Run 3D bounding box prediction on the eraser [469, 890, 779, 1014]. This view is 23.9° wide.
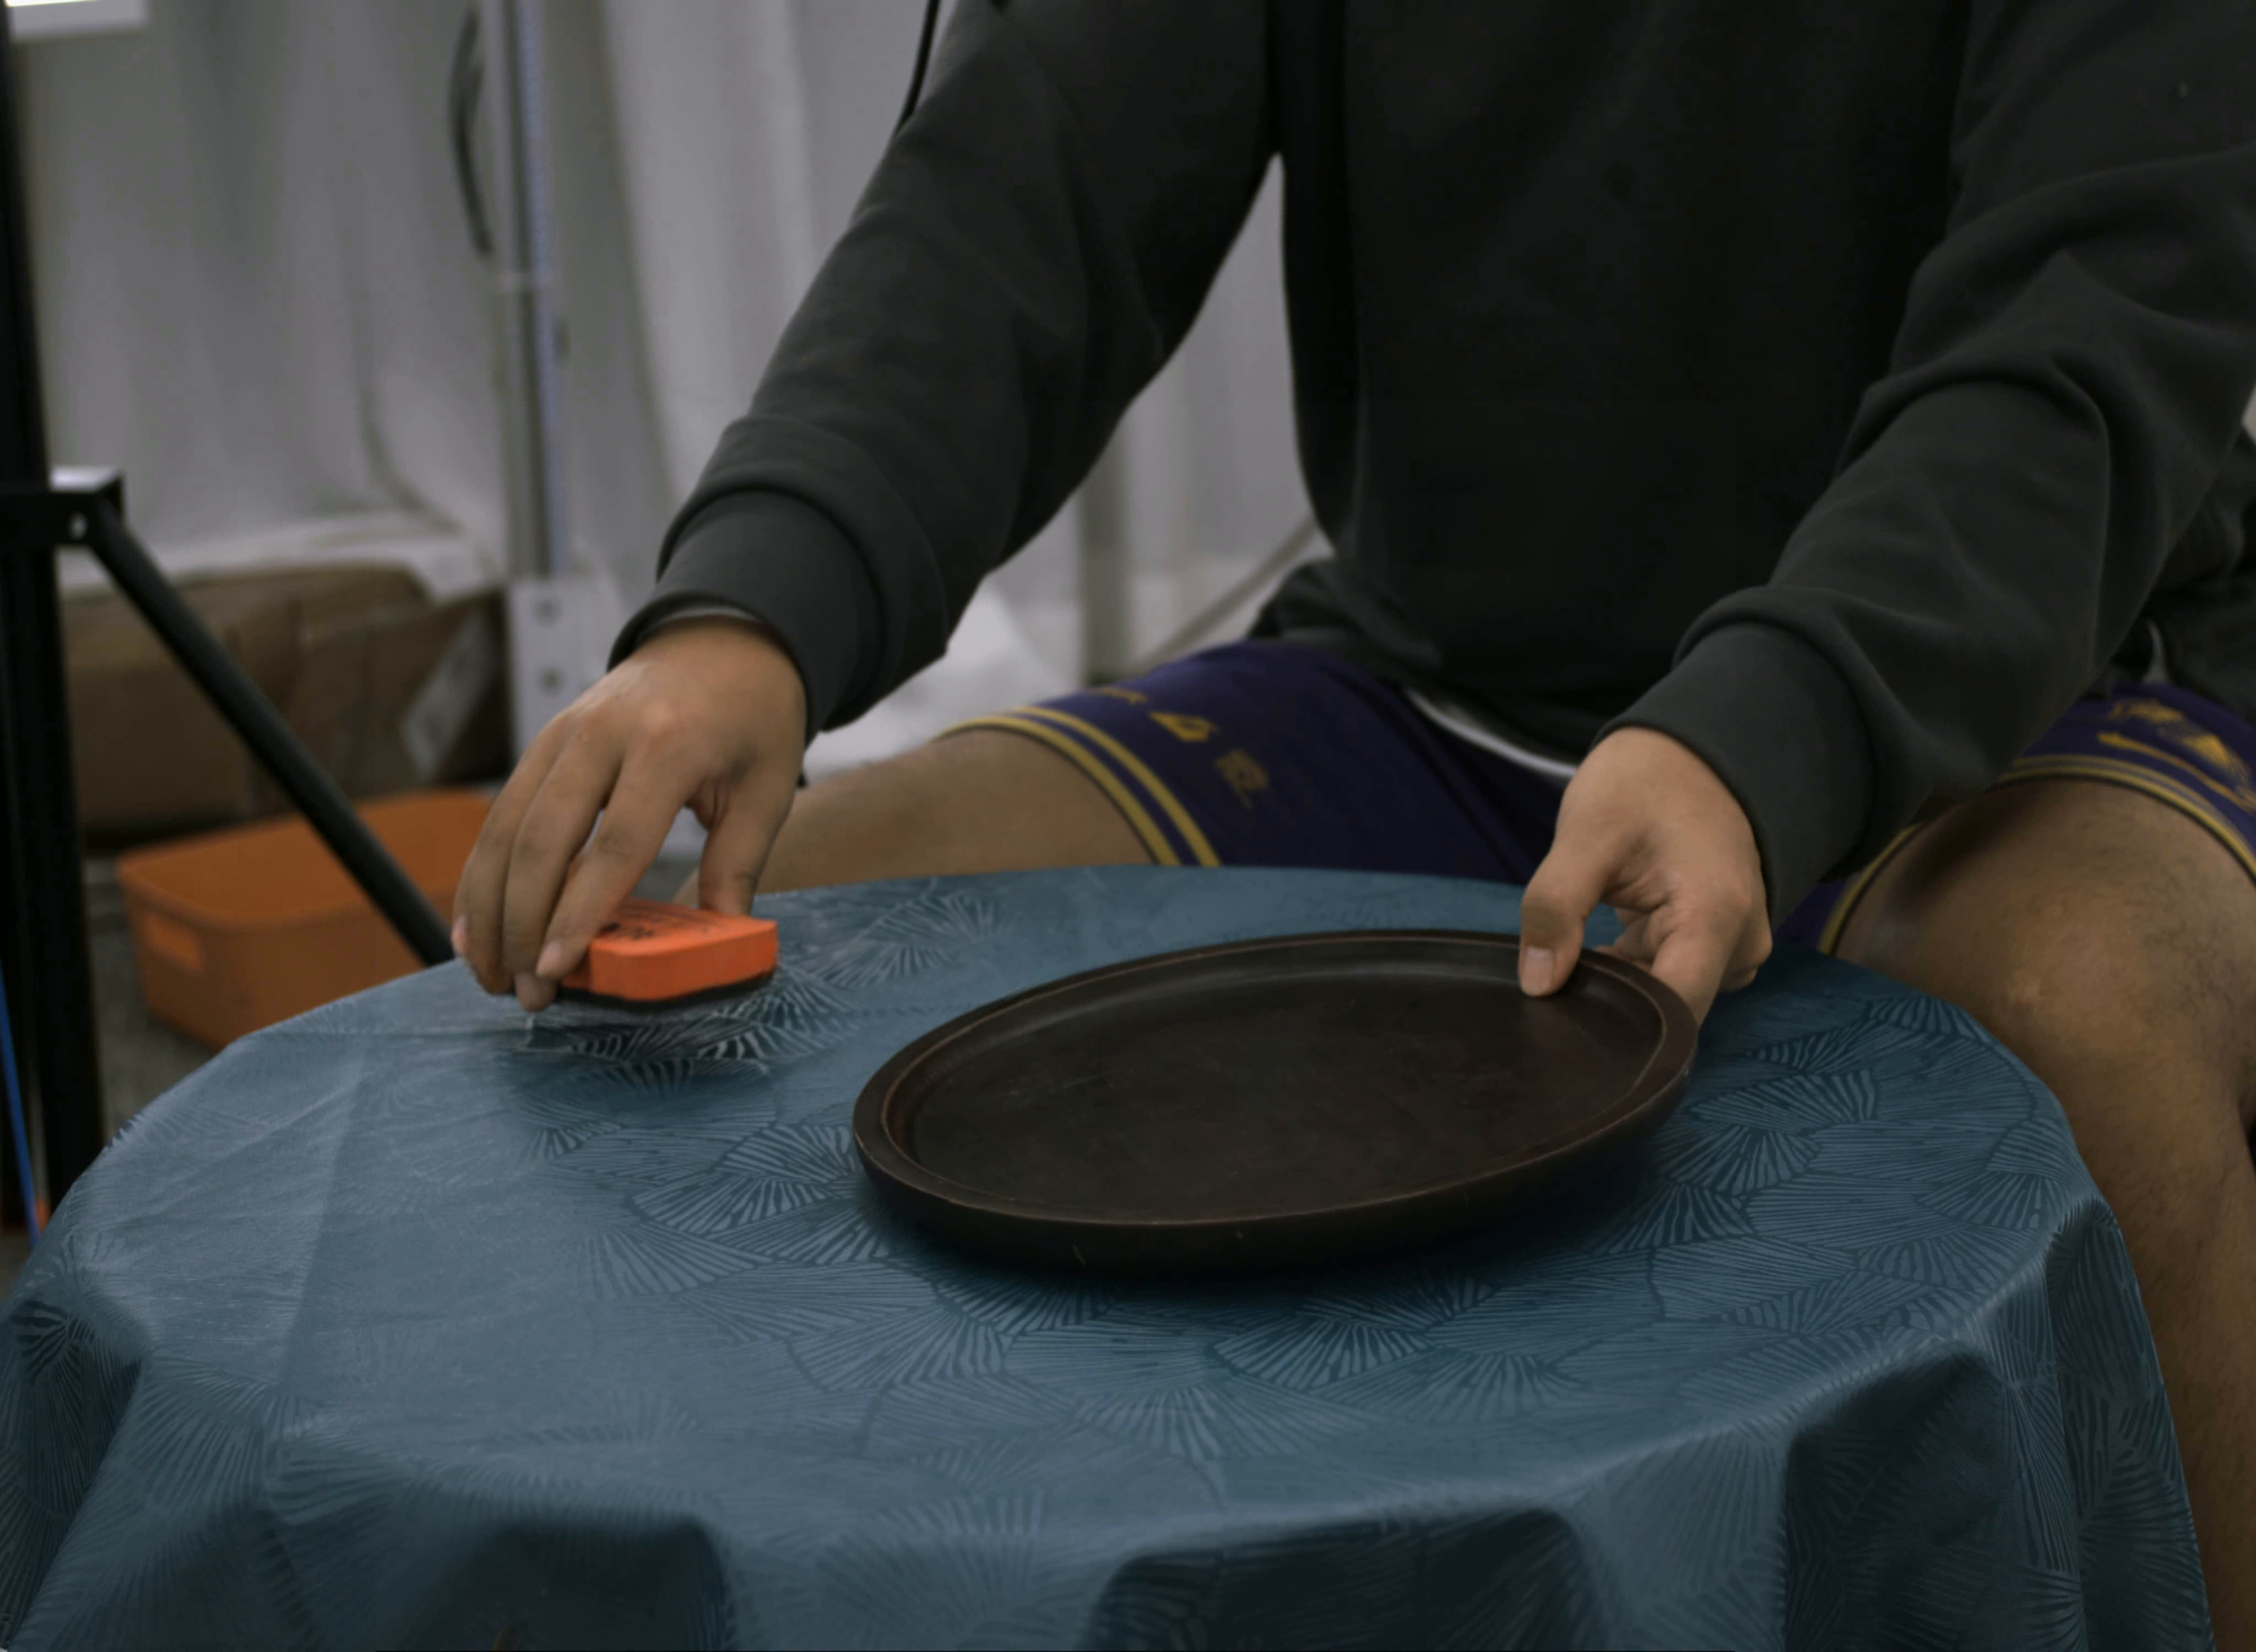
[{"bbox_3d":[-0.163,0.040,1.718,0.057,0.023,0.110,-10,11,-36],"label":"eraser"}]

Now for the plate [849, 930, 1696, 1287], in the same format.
[{"bbox_3d":[0.044,0.081,1.575,0.254,0.029,0.256,-9,16,1],"label":"plate"}]
